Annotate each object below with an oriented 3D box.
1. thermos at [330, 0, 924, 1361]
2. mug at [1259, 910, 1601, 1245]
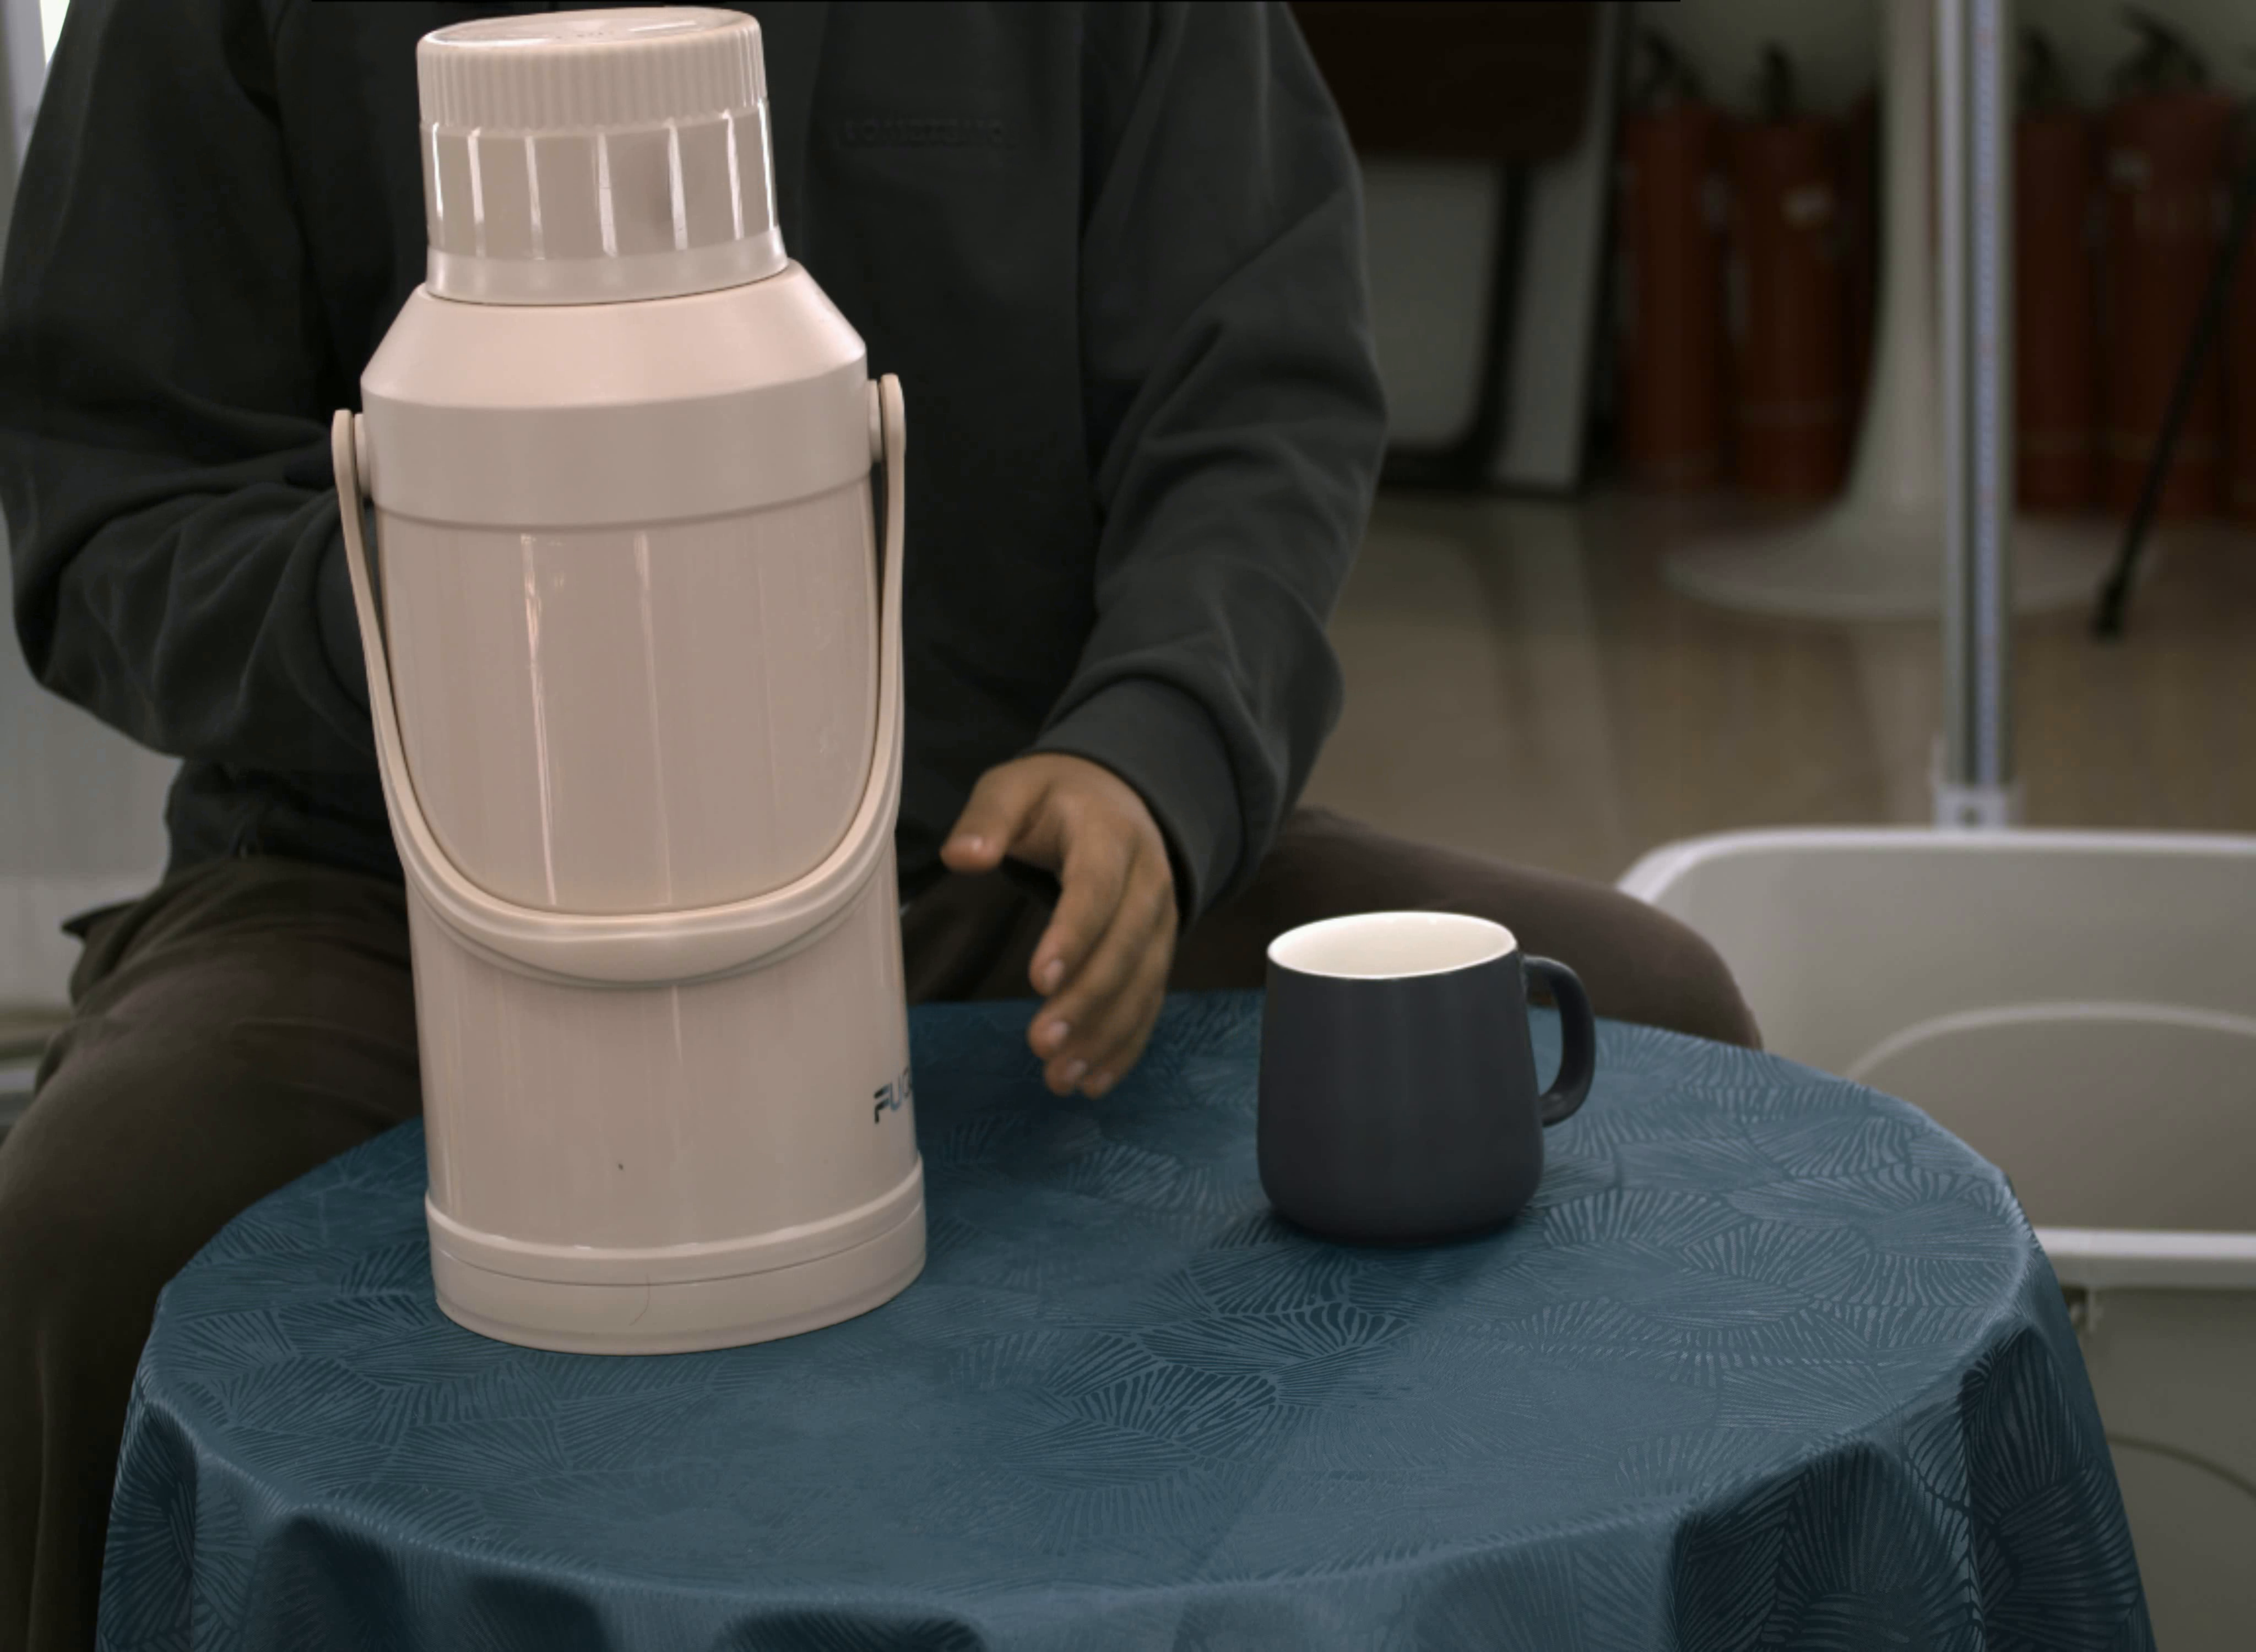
[{"bbox_3d":[-0.152,-0.054,1.690,0.173,0.411,0.208,-5,14,-3],"label":"thermos"},{"bbox_3d":[0.100,0.078,1.732,0.120,0.091,0.094,-11,15,-27],"label":"mug"}]
